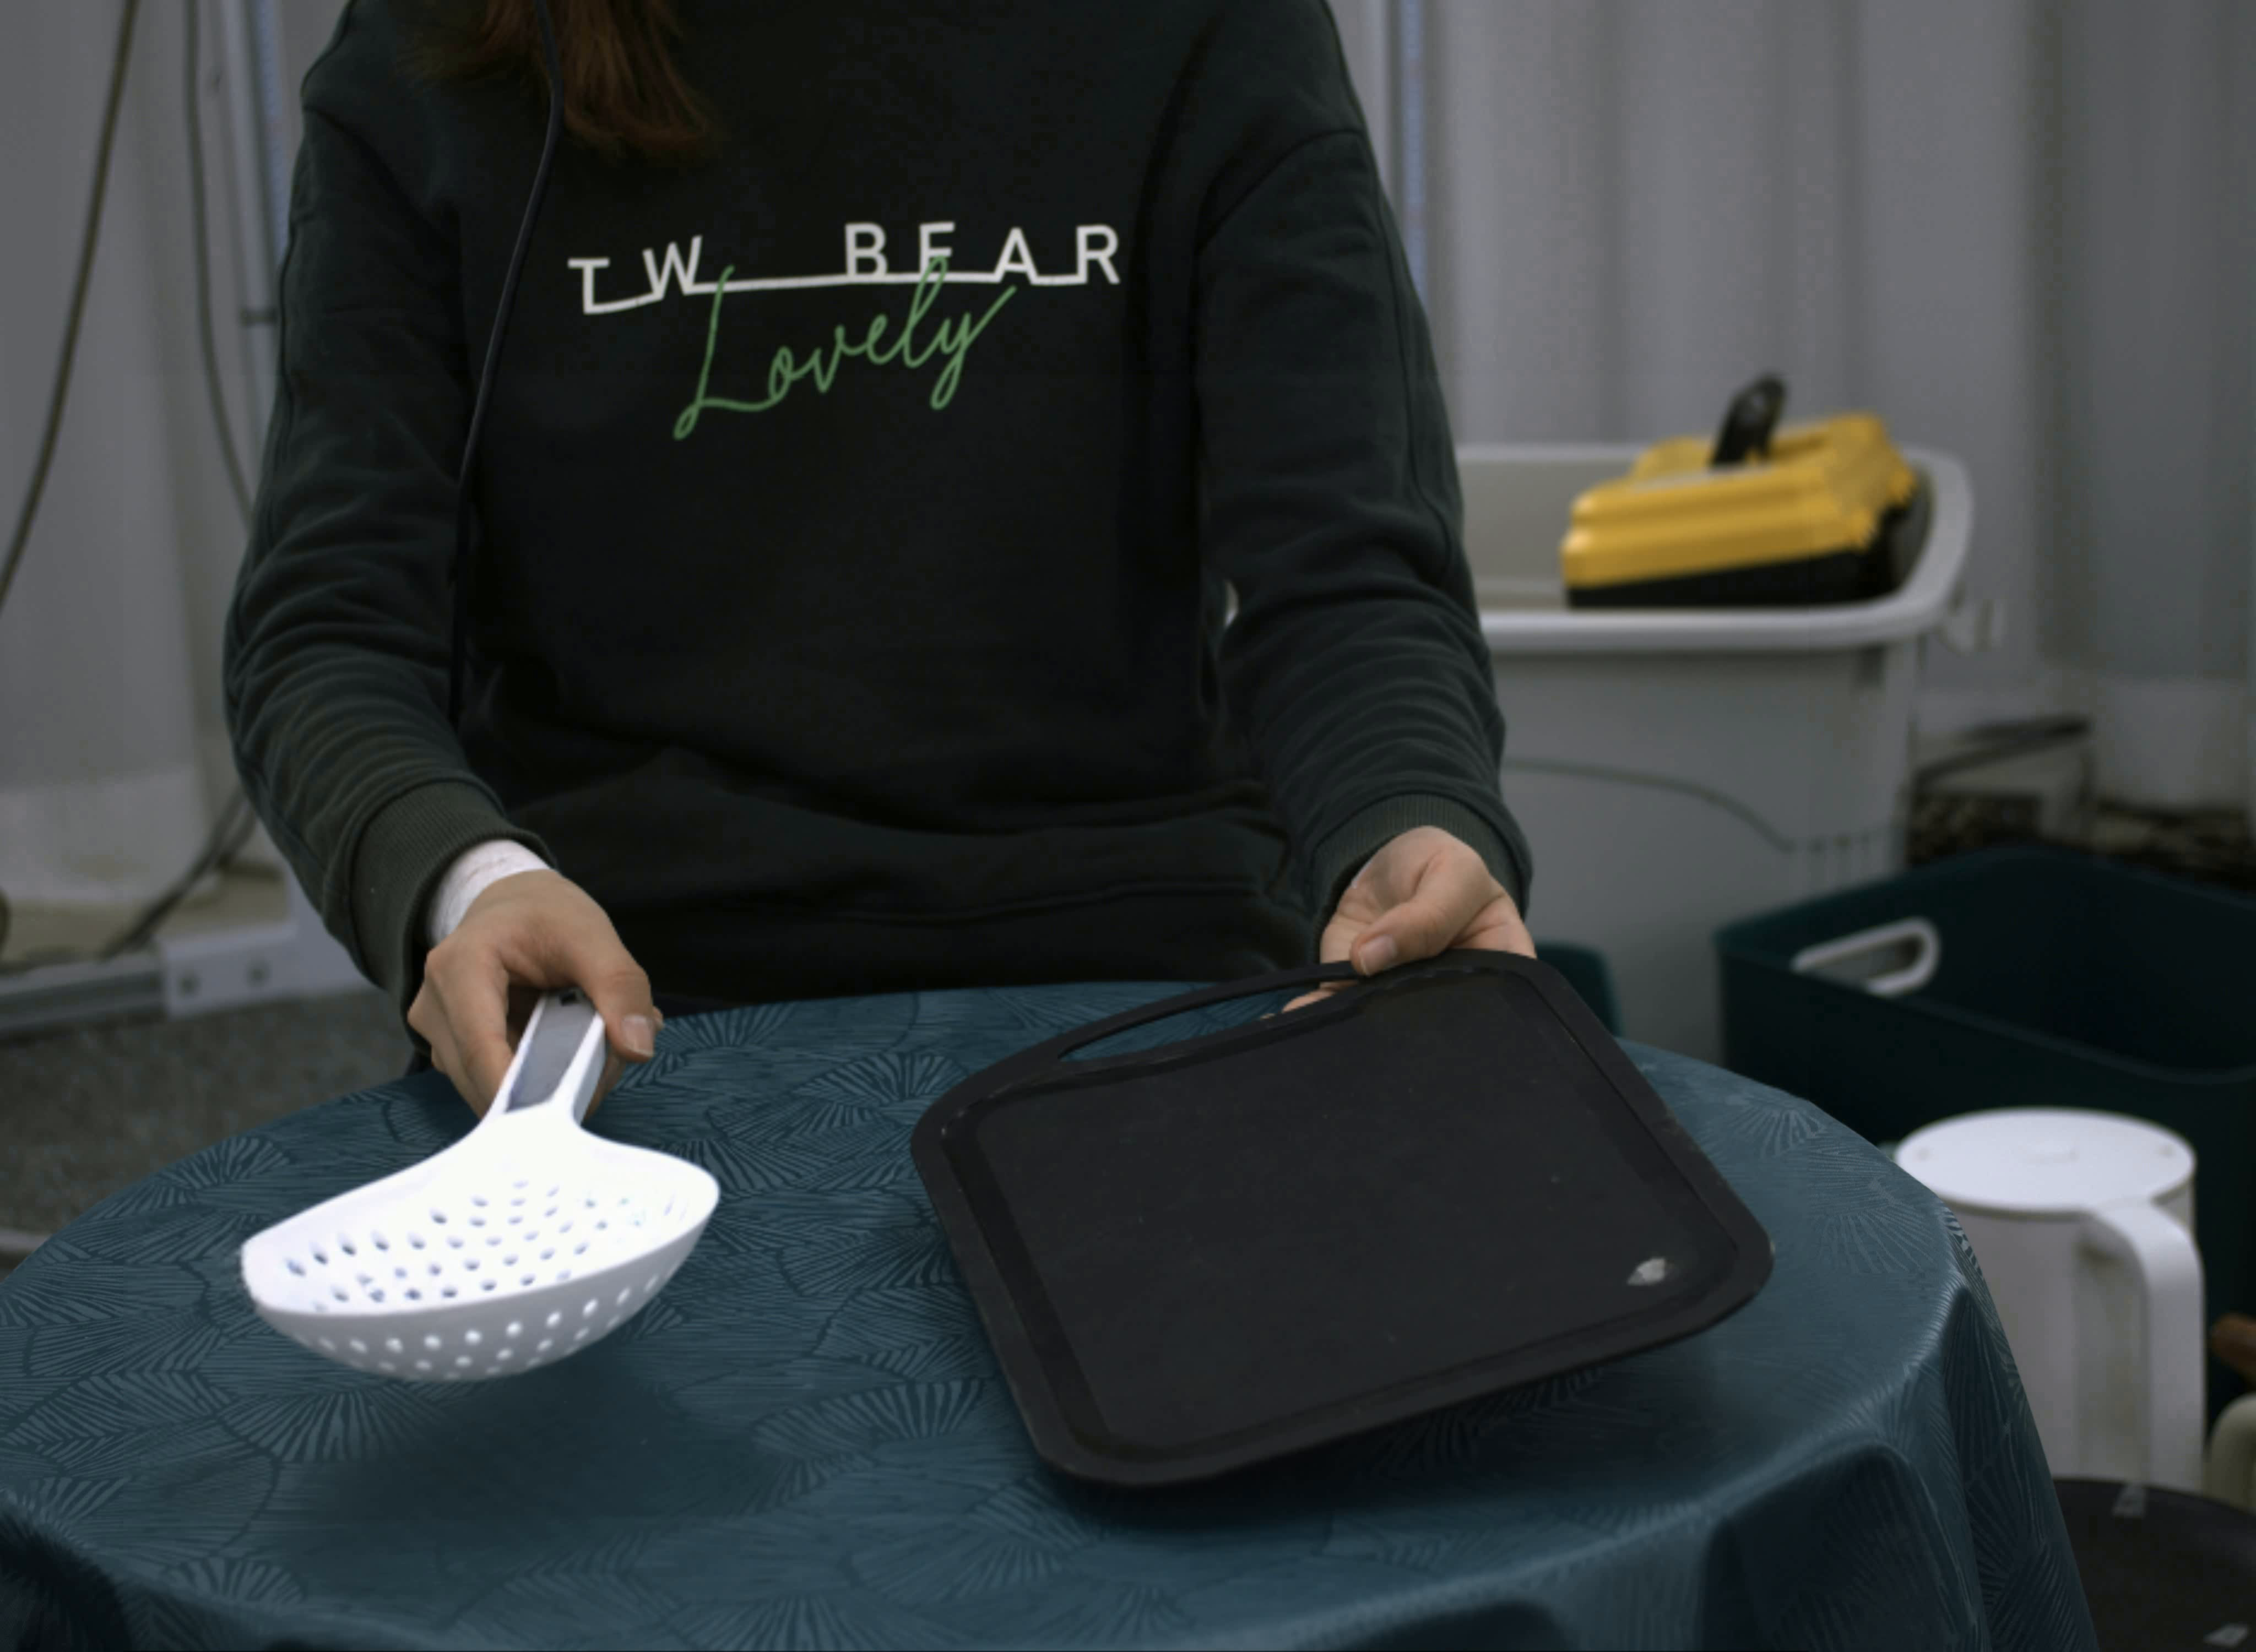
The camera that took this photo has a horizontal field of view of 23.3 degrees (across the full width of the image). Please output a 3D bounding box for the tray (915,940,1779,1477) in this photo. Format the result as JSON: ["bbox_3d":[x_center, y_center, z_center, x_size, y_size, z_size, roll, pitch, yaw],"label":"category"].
[{"bbox_3d":[0.053,0.101,1.591,0.210,0.010,0.328,-15,21,-6],"label":"tray"}]

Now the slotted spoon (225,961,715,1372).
[{"bbox_3d":[-0.177,0.091,1.608,0.135,0.045,0.352,-7,17,3],"label":"slotted spoon"}]
